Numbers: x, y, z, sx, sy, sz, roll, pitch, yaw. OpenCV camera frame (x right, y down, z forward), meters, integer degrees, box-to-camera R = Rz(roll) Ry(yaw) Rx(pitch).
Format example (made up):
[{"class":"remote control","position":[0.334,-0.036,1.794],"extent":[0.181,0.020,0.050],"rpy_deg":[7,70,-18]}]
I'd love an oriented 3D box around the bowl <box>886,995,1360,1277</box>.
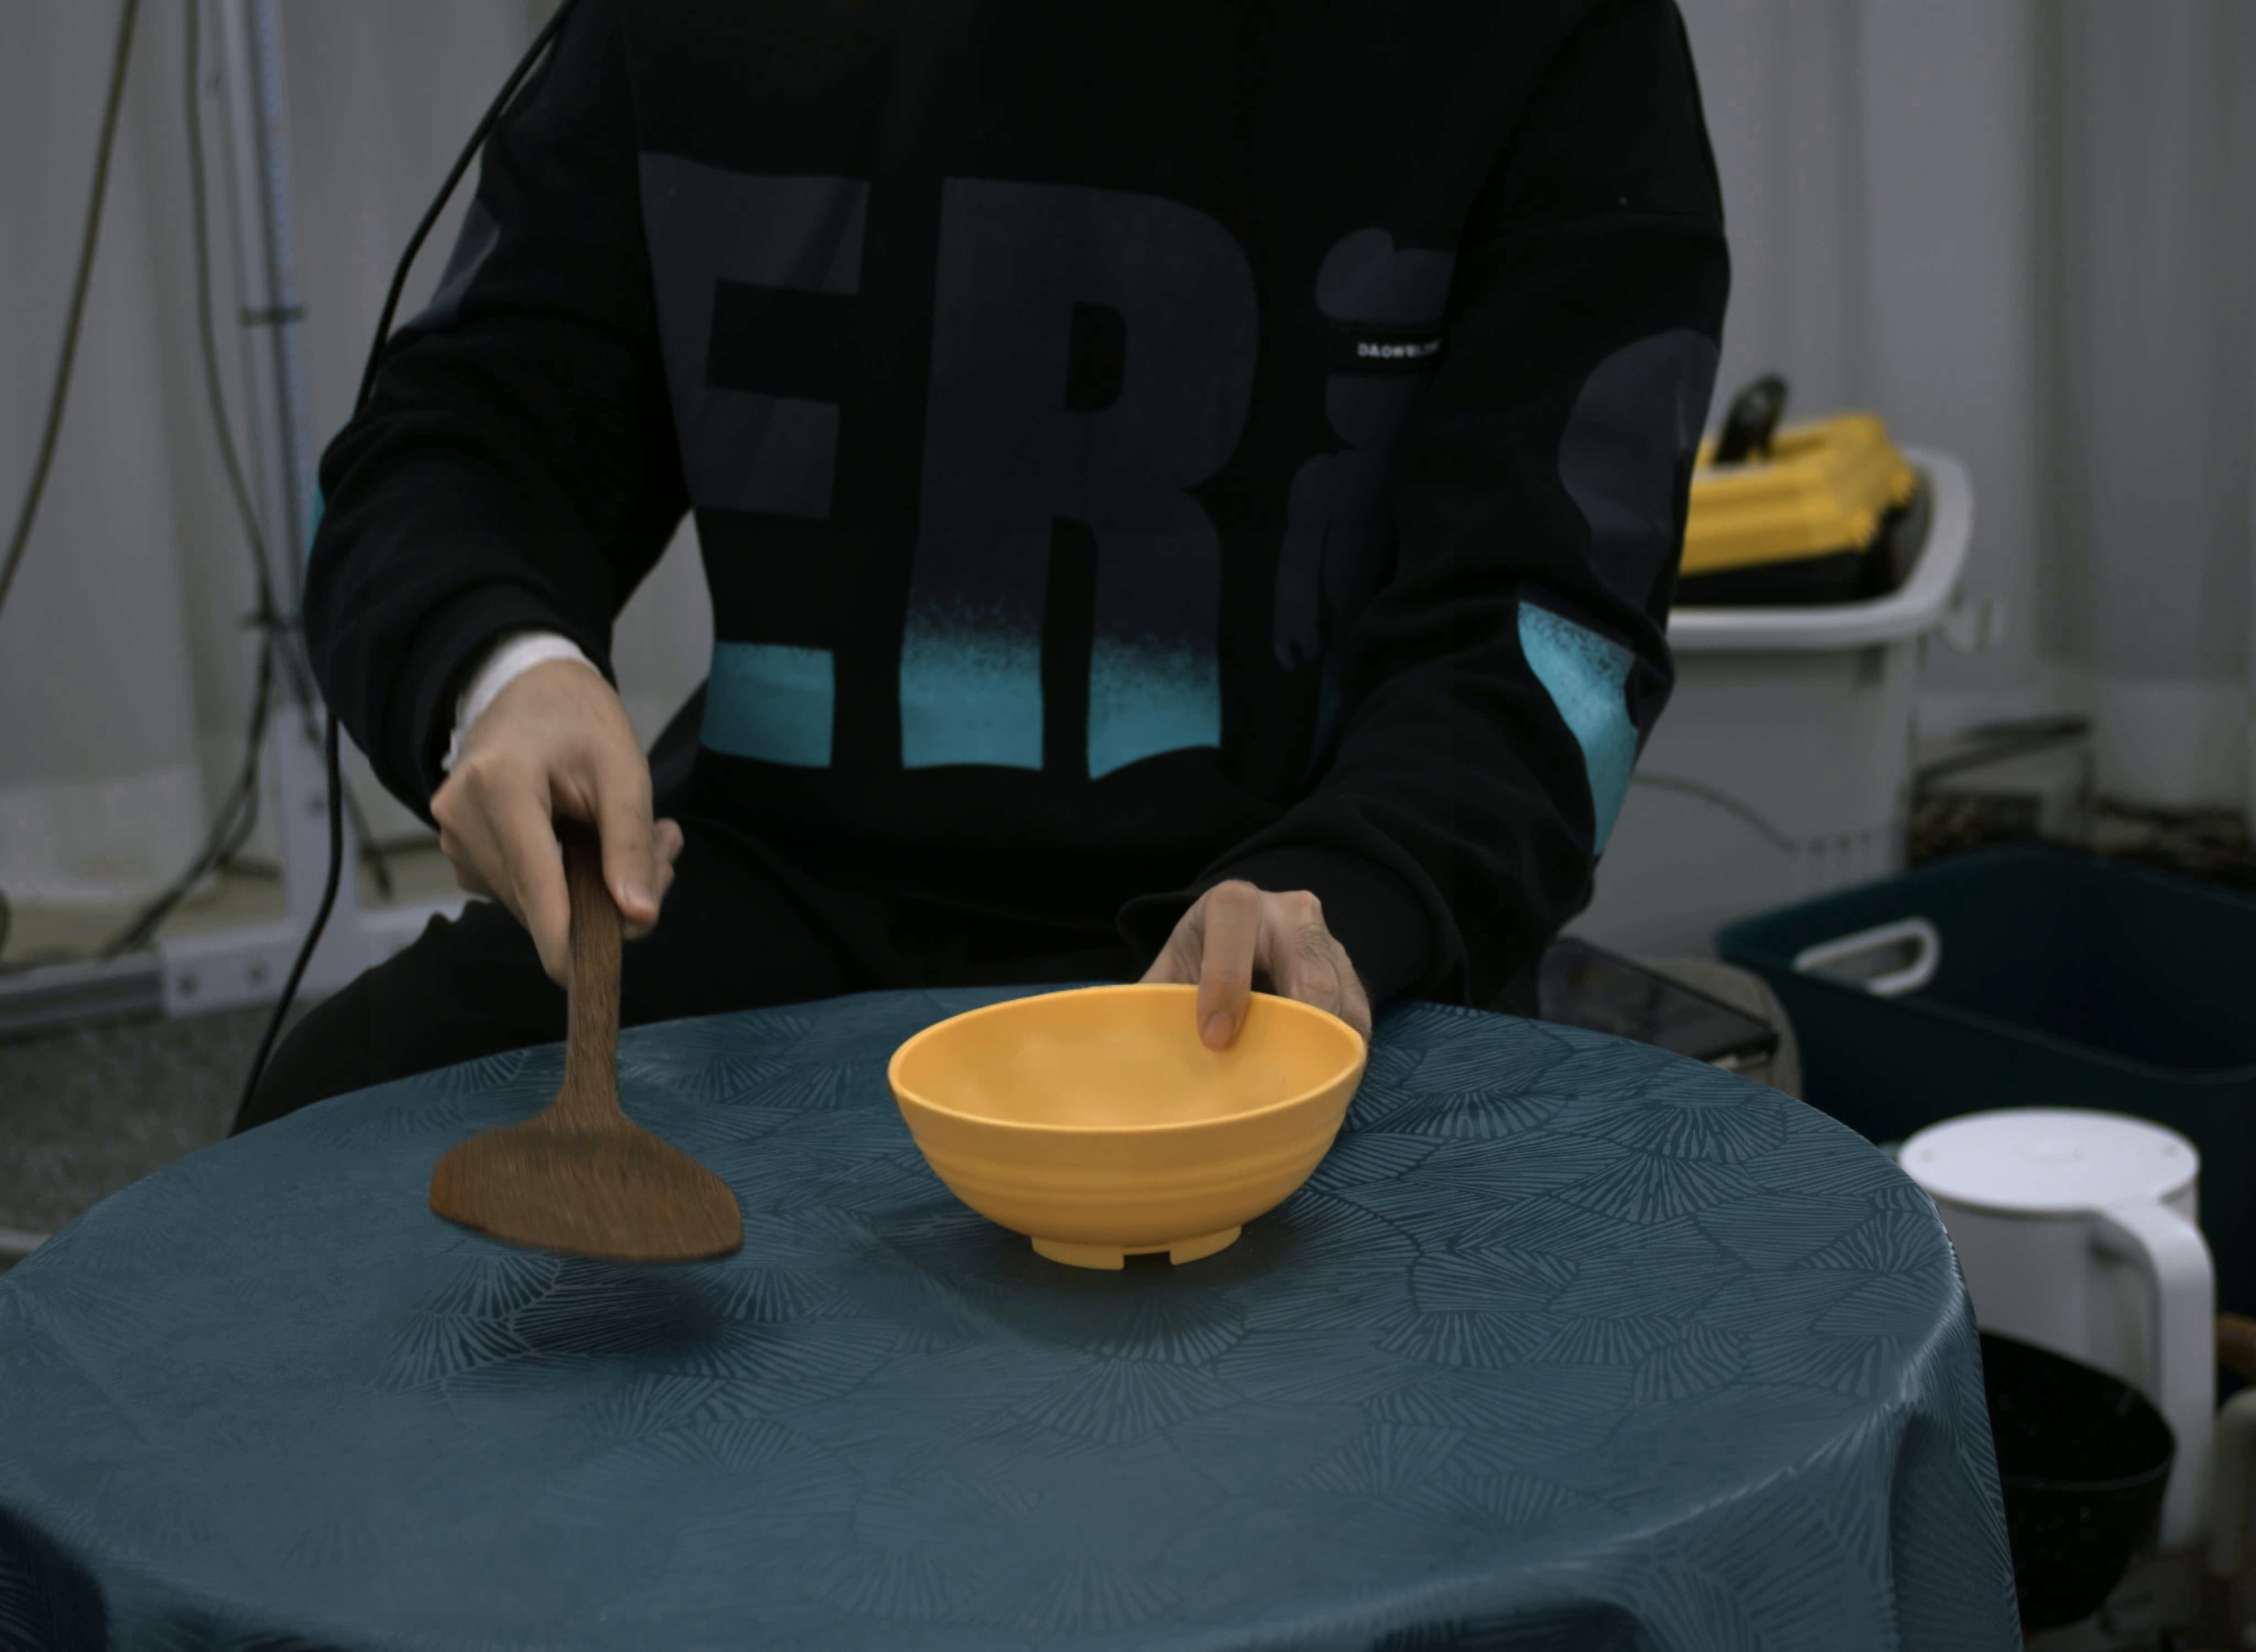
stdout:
[{"class":"bowl","position":[-0.001,0.099,1.667],"extent":[0.145,0.060,0.146],"rpy_deg":[-1,13,0]}]

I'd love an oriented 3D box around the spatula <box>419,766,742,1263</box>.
[{"class":"spatula","position":[-0.173,0.052,1.758],"extent":[0.095,0.015,0.390],"rpy_deg":[8,21,-8]}]
